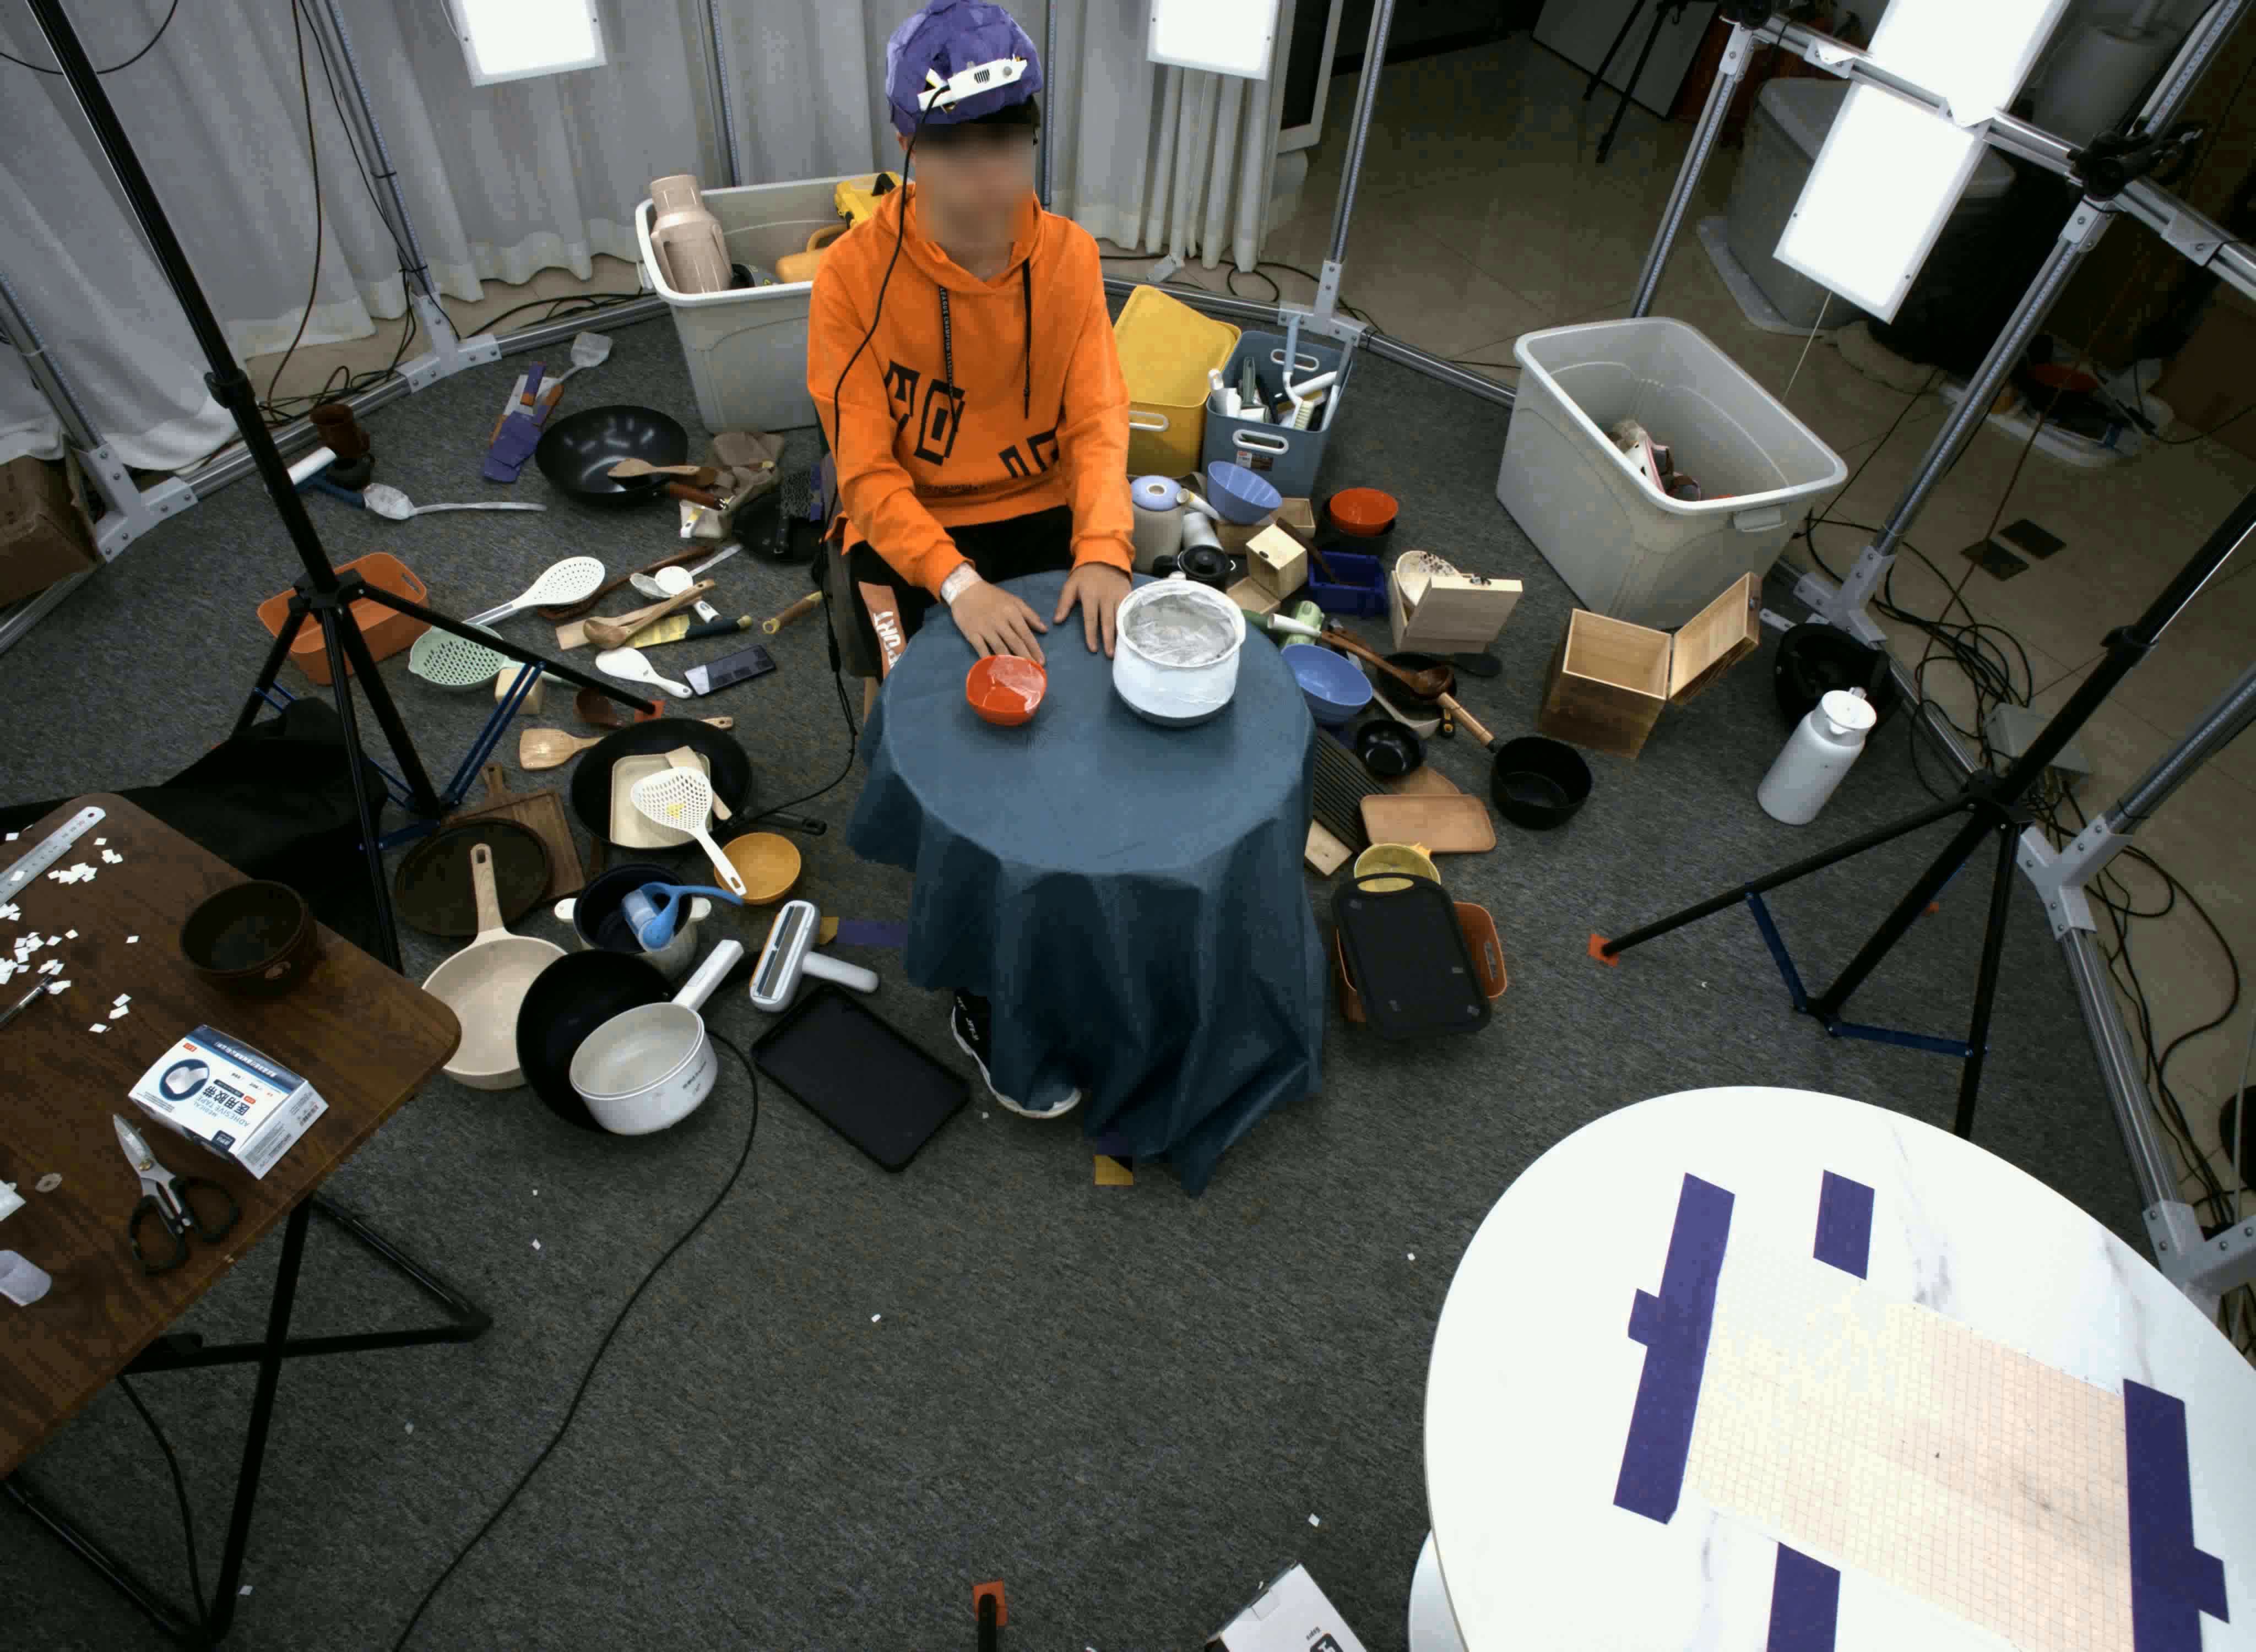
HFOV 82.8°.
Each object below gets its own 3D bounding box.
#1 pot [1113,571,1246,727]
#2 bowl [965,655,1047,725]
[{"bbox_3d":[0.067,-0.259,1.809,0.178,0.133,0.239,1,49,-4],"label":"pot"},{"bbox_3d":[-0.168,-0.182,1.782,0.119,0.050,0.122,1,50,-2],"label":"bowl"}]
